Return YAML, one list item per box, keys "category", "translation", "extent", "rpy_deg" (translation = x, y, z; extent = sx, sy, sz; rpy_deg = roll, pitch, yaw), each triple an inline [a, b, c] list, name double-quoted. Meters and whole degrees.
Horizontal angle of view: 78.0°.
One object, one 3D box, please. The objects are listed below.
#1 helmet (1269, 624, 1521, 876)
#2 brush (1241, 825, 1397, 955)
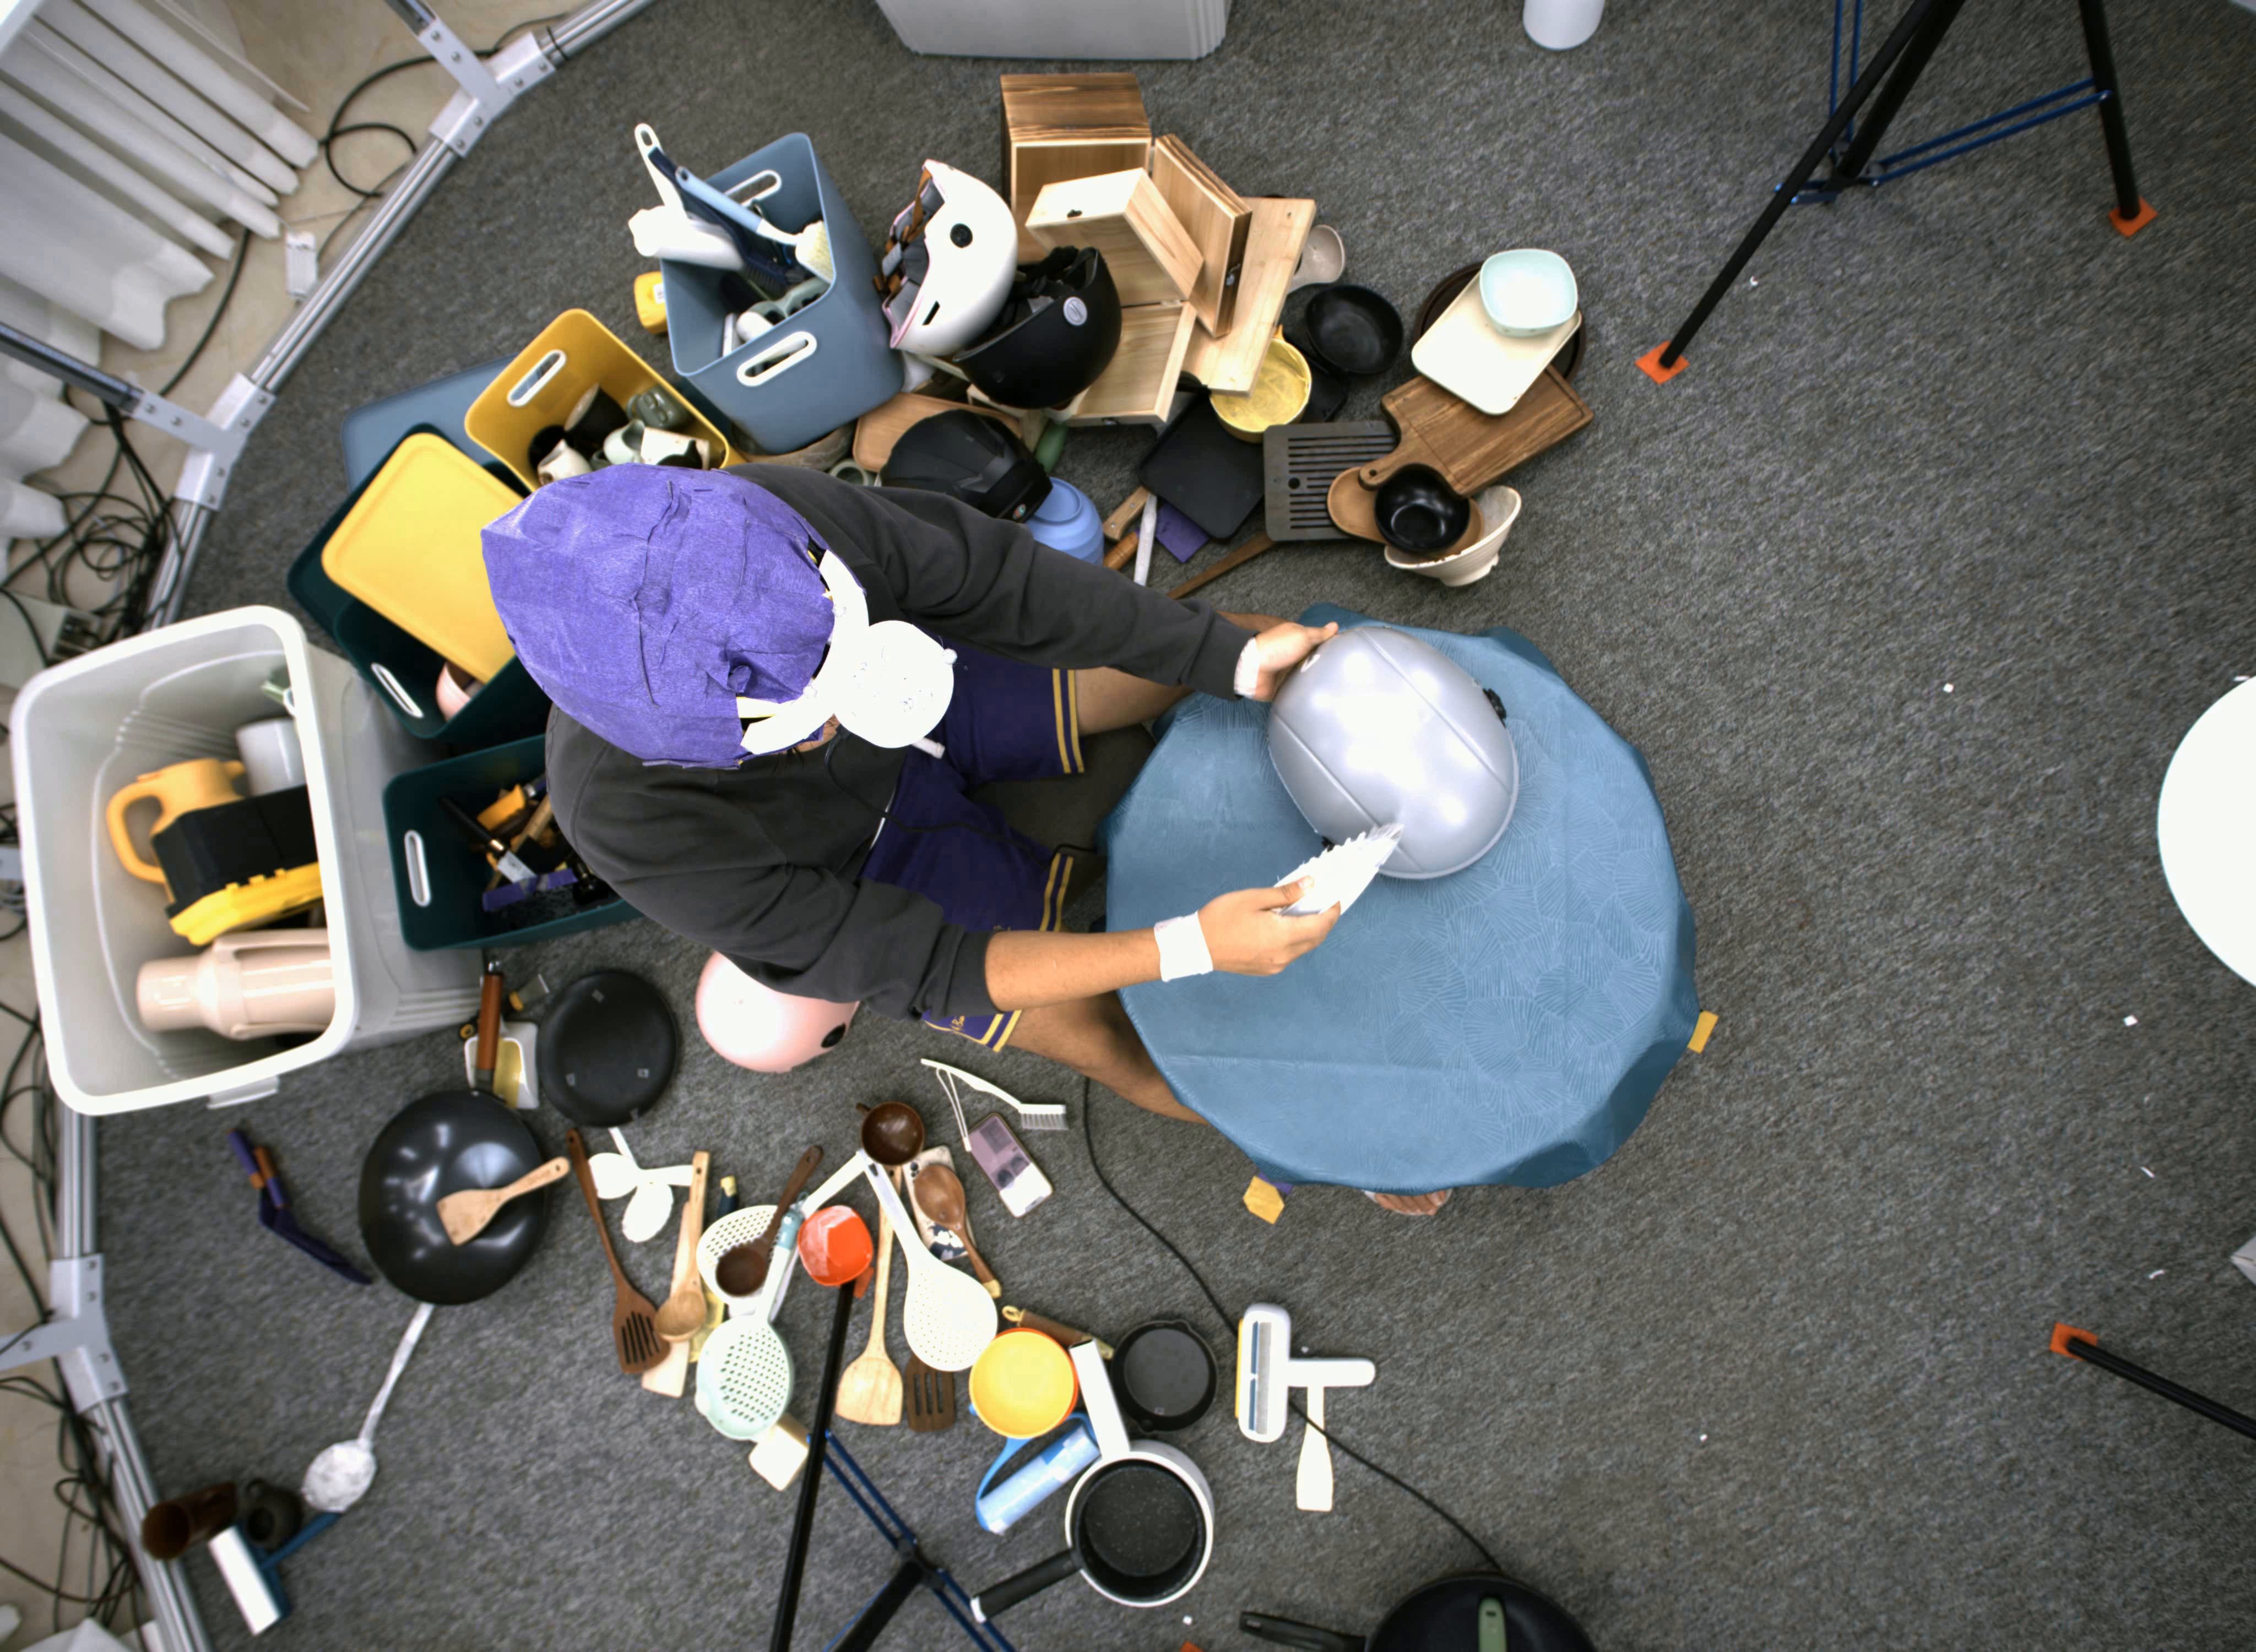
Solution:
- category: "helmet"
  translation: [0.266, -0.074, 1.365]
  extent: [0.234, 0.167, 0.275]
  rpy_deg: [-43, 85, 12]
- category: "brush"
  translation: [0.179, 0.061, 1.295]
  extent: [0.178, 0.092, 0.061]
  rpy_deg: [-39, 92, 24]
